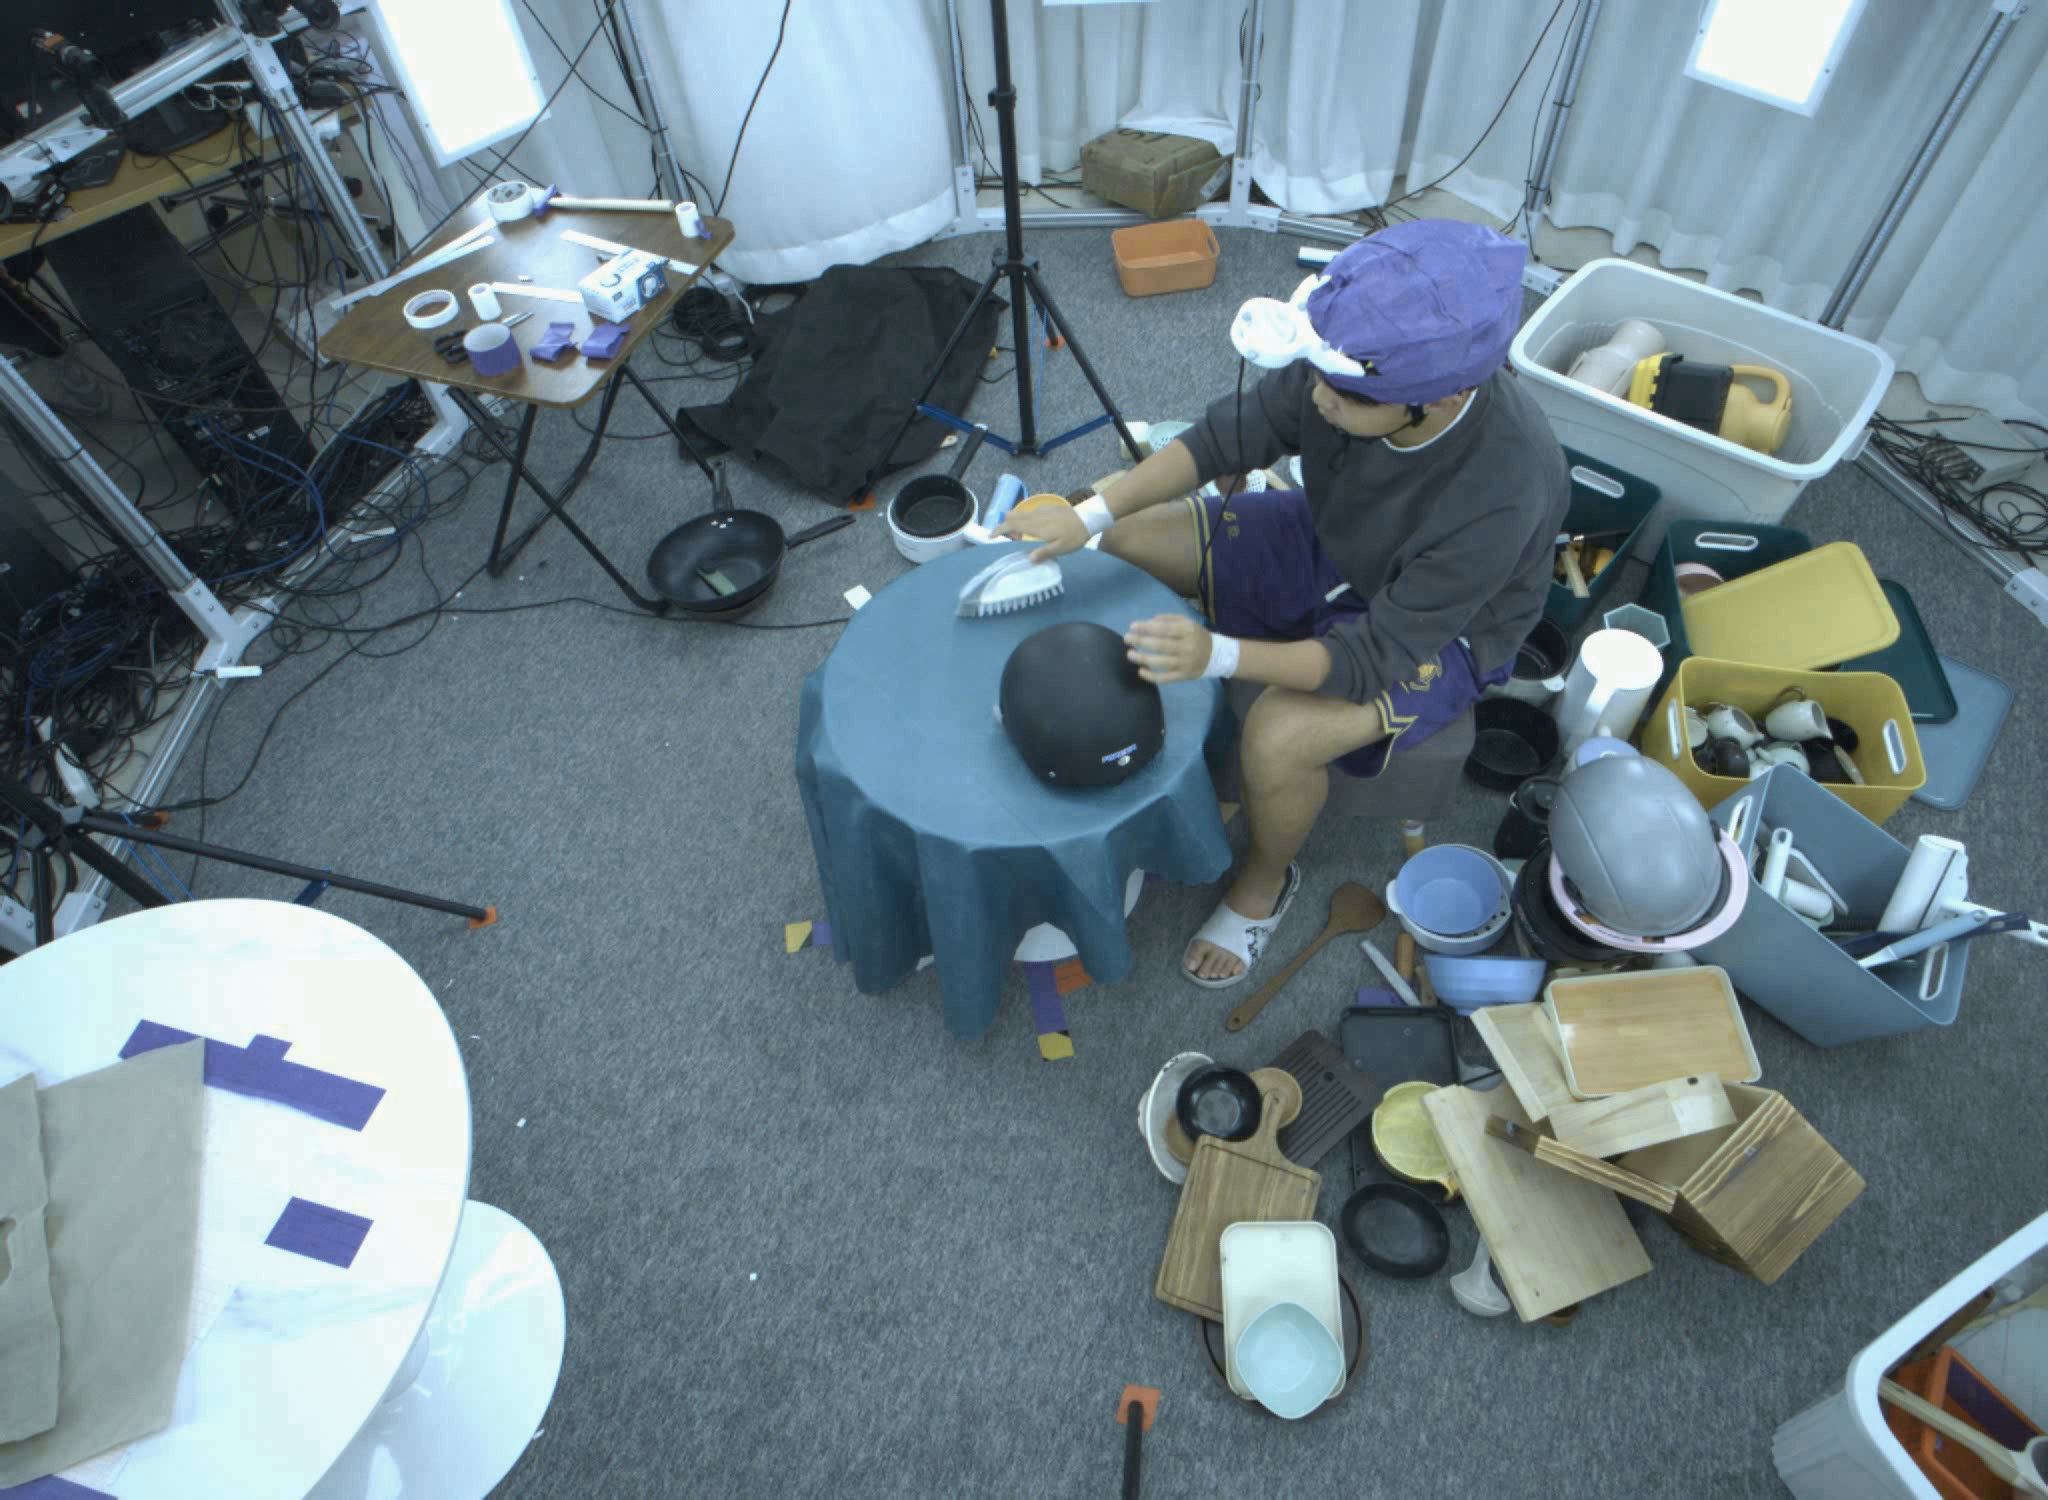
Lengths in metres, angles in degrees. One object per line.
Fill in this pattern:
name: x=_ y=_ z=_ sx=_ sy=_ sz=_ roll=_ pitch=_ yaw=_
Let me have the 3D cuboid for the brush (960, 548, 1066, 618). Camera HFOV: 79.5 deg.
brush: x=-0.023 y=-0.264 z=1.923 sx=0.176 sy=0.095 sz=0.060 roll=-20 pitch=52 yaw=-10

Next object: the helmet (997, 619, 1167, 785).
helmet: x=0.079 y=-0.089 z=1.751 sx=0.232 sy=0.168 sz=0.268 roll=-19 pitch=54 yaw=-11
